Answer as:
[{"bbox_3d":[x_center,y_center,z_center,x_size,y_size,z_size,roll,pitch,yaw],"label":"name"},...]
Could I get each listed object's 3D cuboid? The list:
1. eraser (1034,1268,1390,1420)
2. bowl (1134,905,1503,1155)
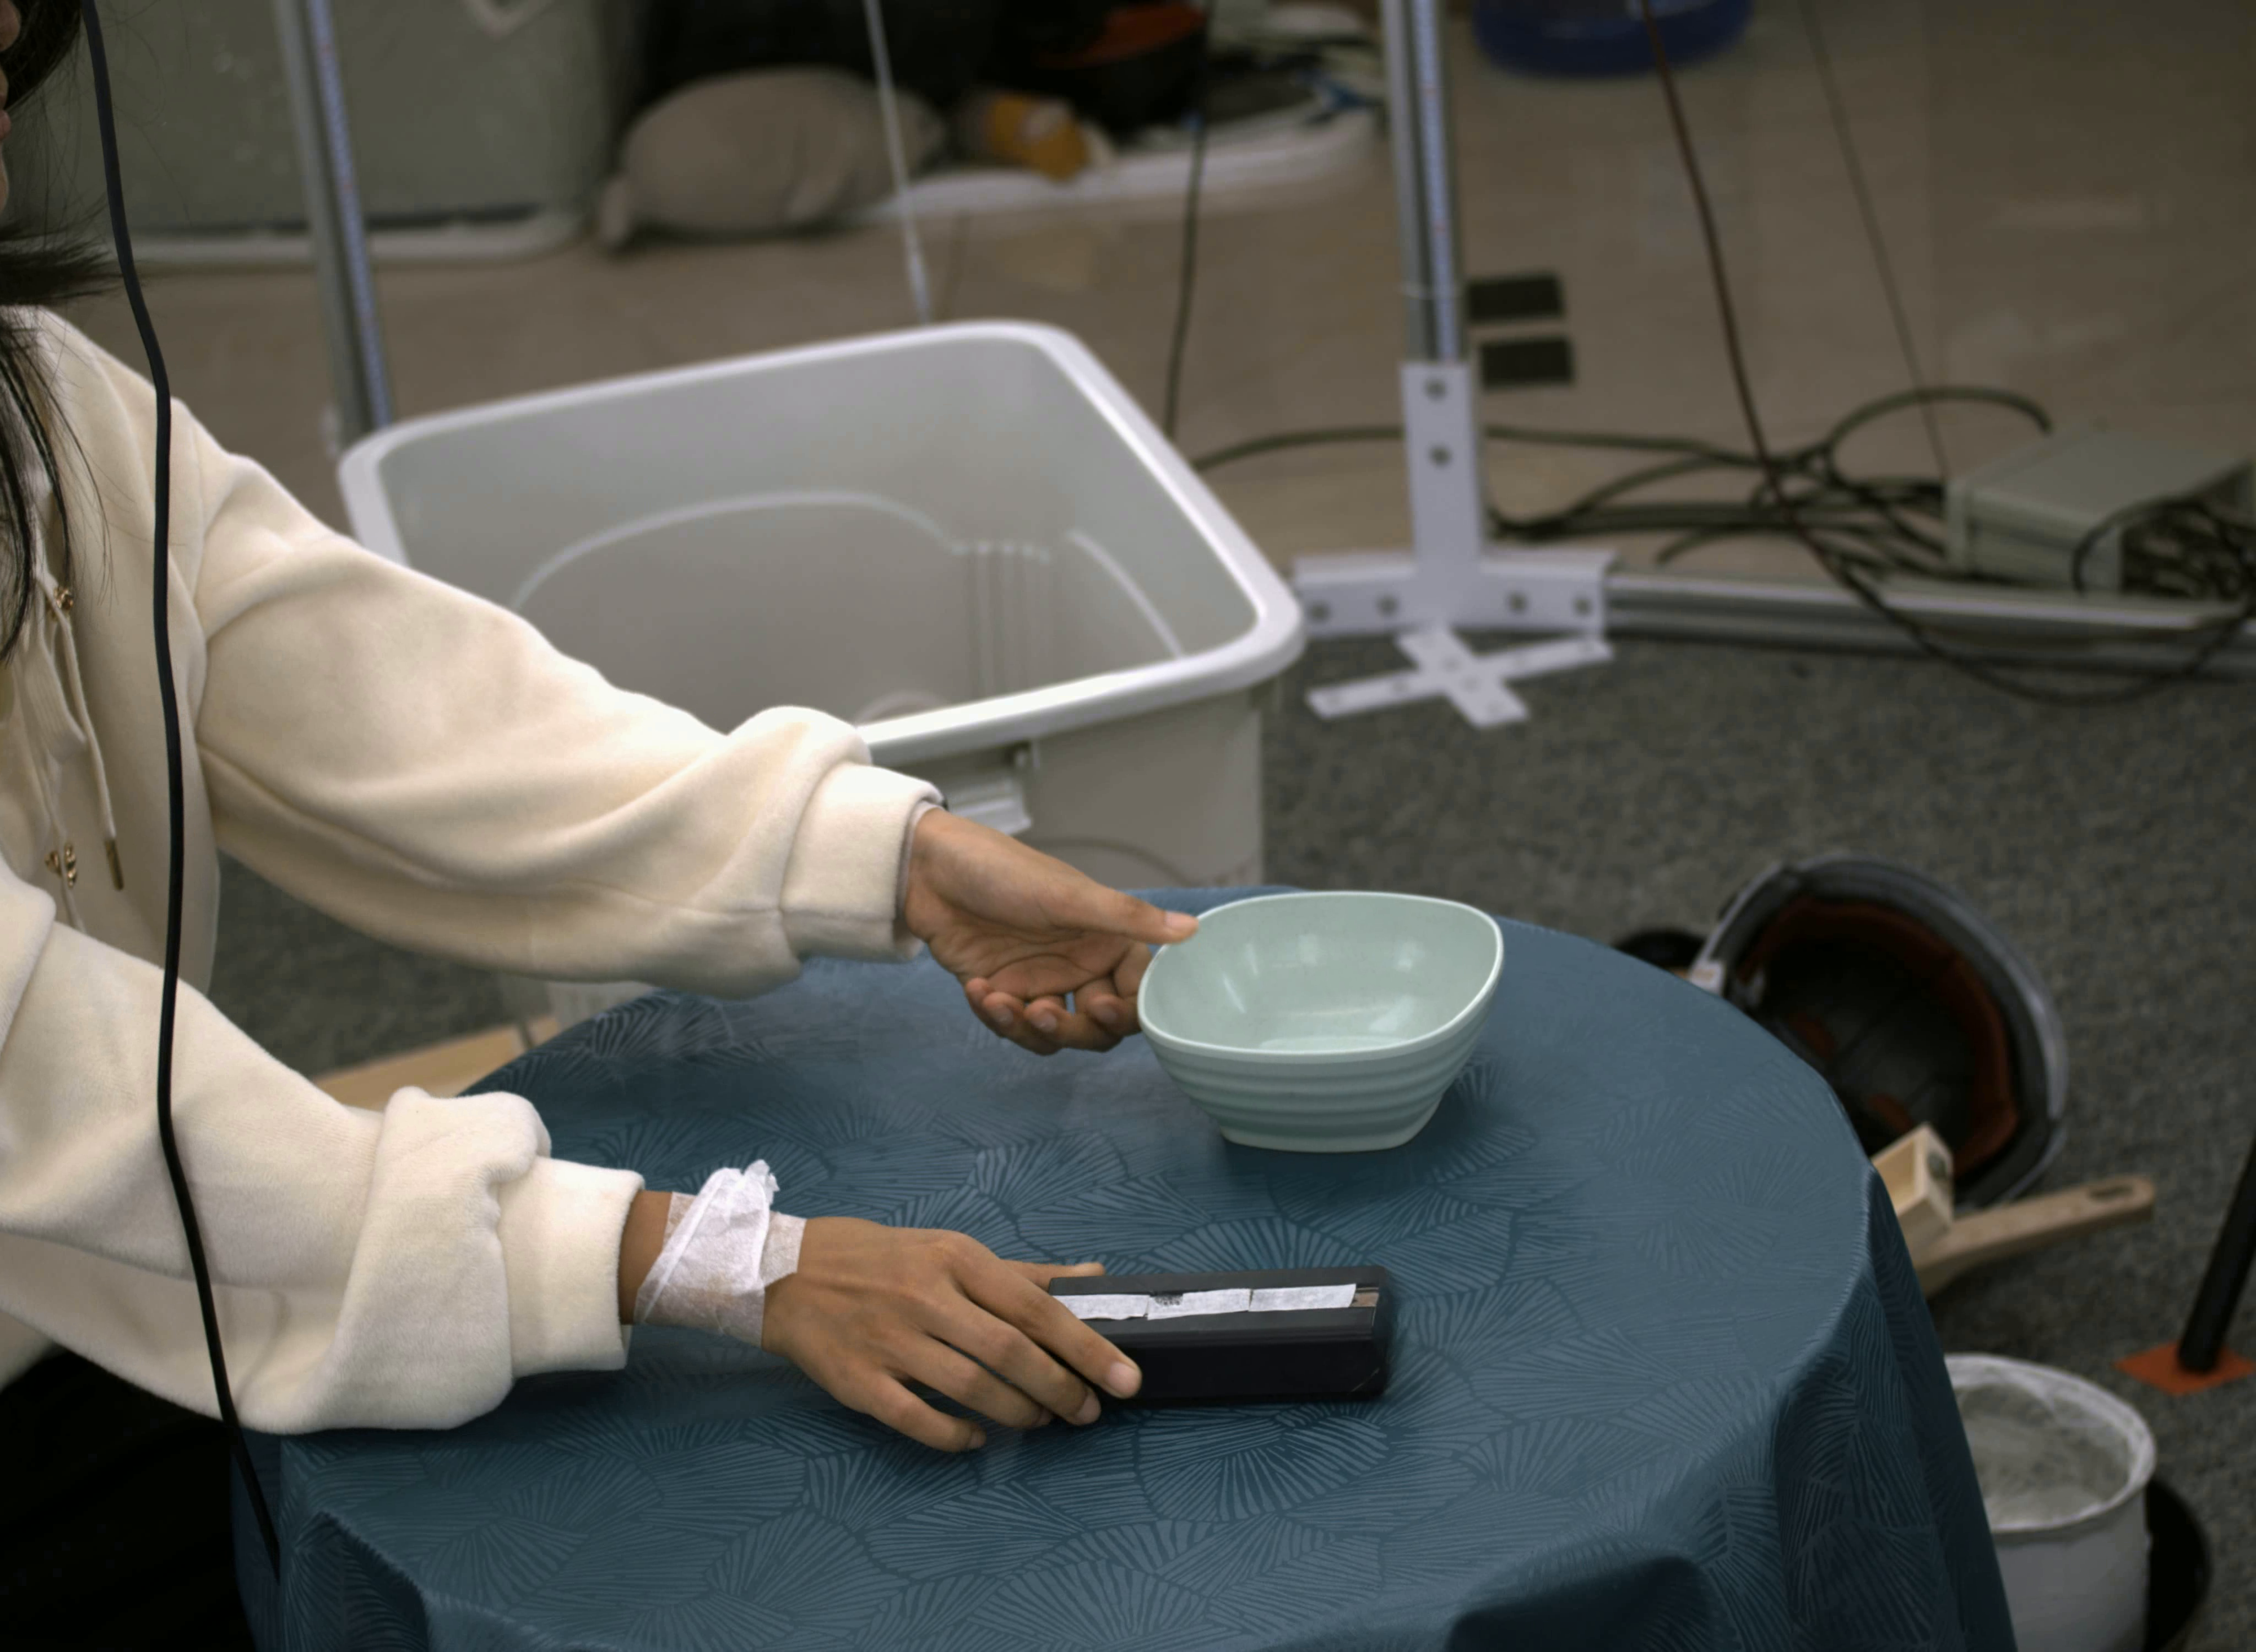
[{"bbox_3d":[0.031,0.183,2.014,0.125,0.031,0.053,-5,23,8],"label":"eraser"},{"bbox_3d":[0.075,0.083,2.183,0.151,0.059,0.149,-4,23,2],"label":"bowl"}]
